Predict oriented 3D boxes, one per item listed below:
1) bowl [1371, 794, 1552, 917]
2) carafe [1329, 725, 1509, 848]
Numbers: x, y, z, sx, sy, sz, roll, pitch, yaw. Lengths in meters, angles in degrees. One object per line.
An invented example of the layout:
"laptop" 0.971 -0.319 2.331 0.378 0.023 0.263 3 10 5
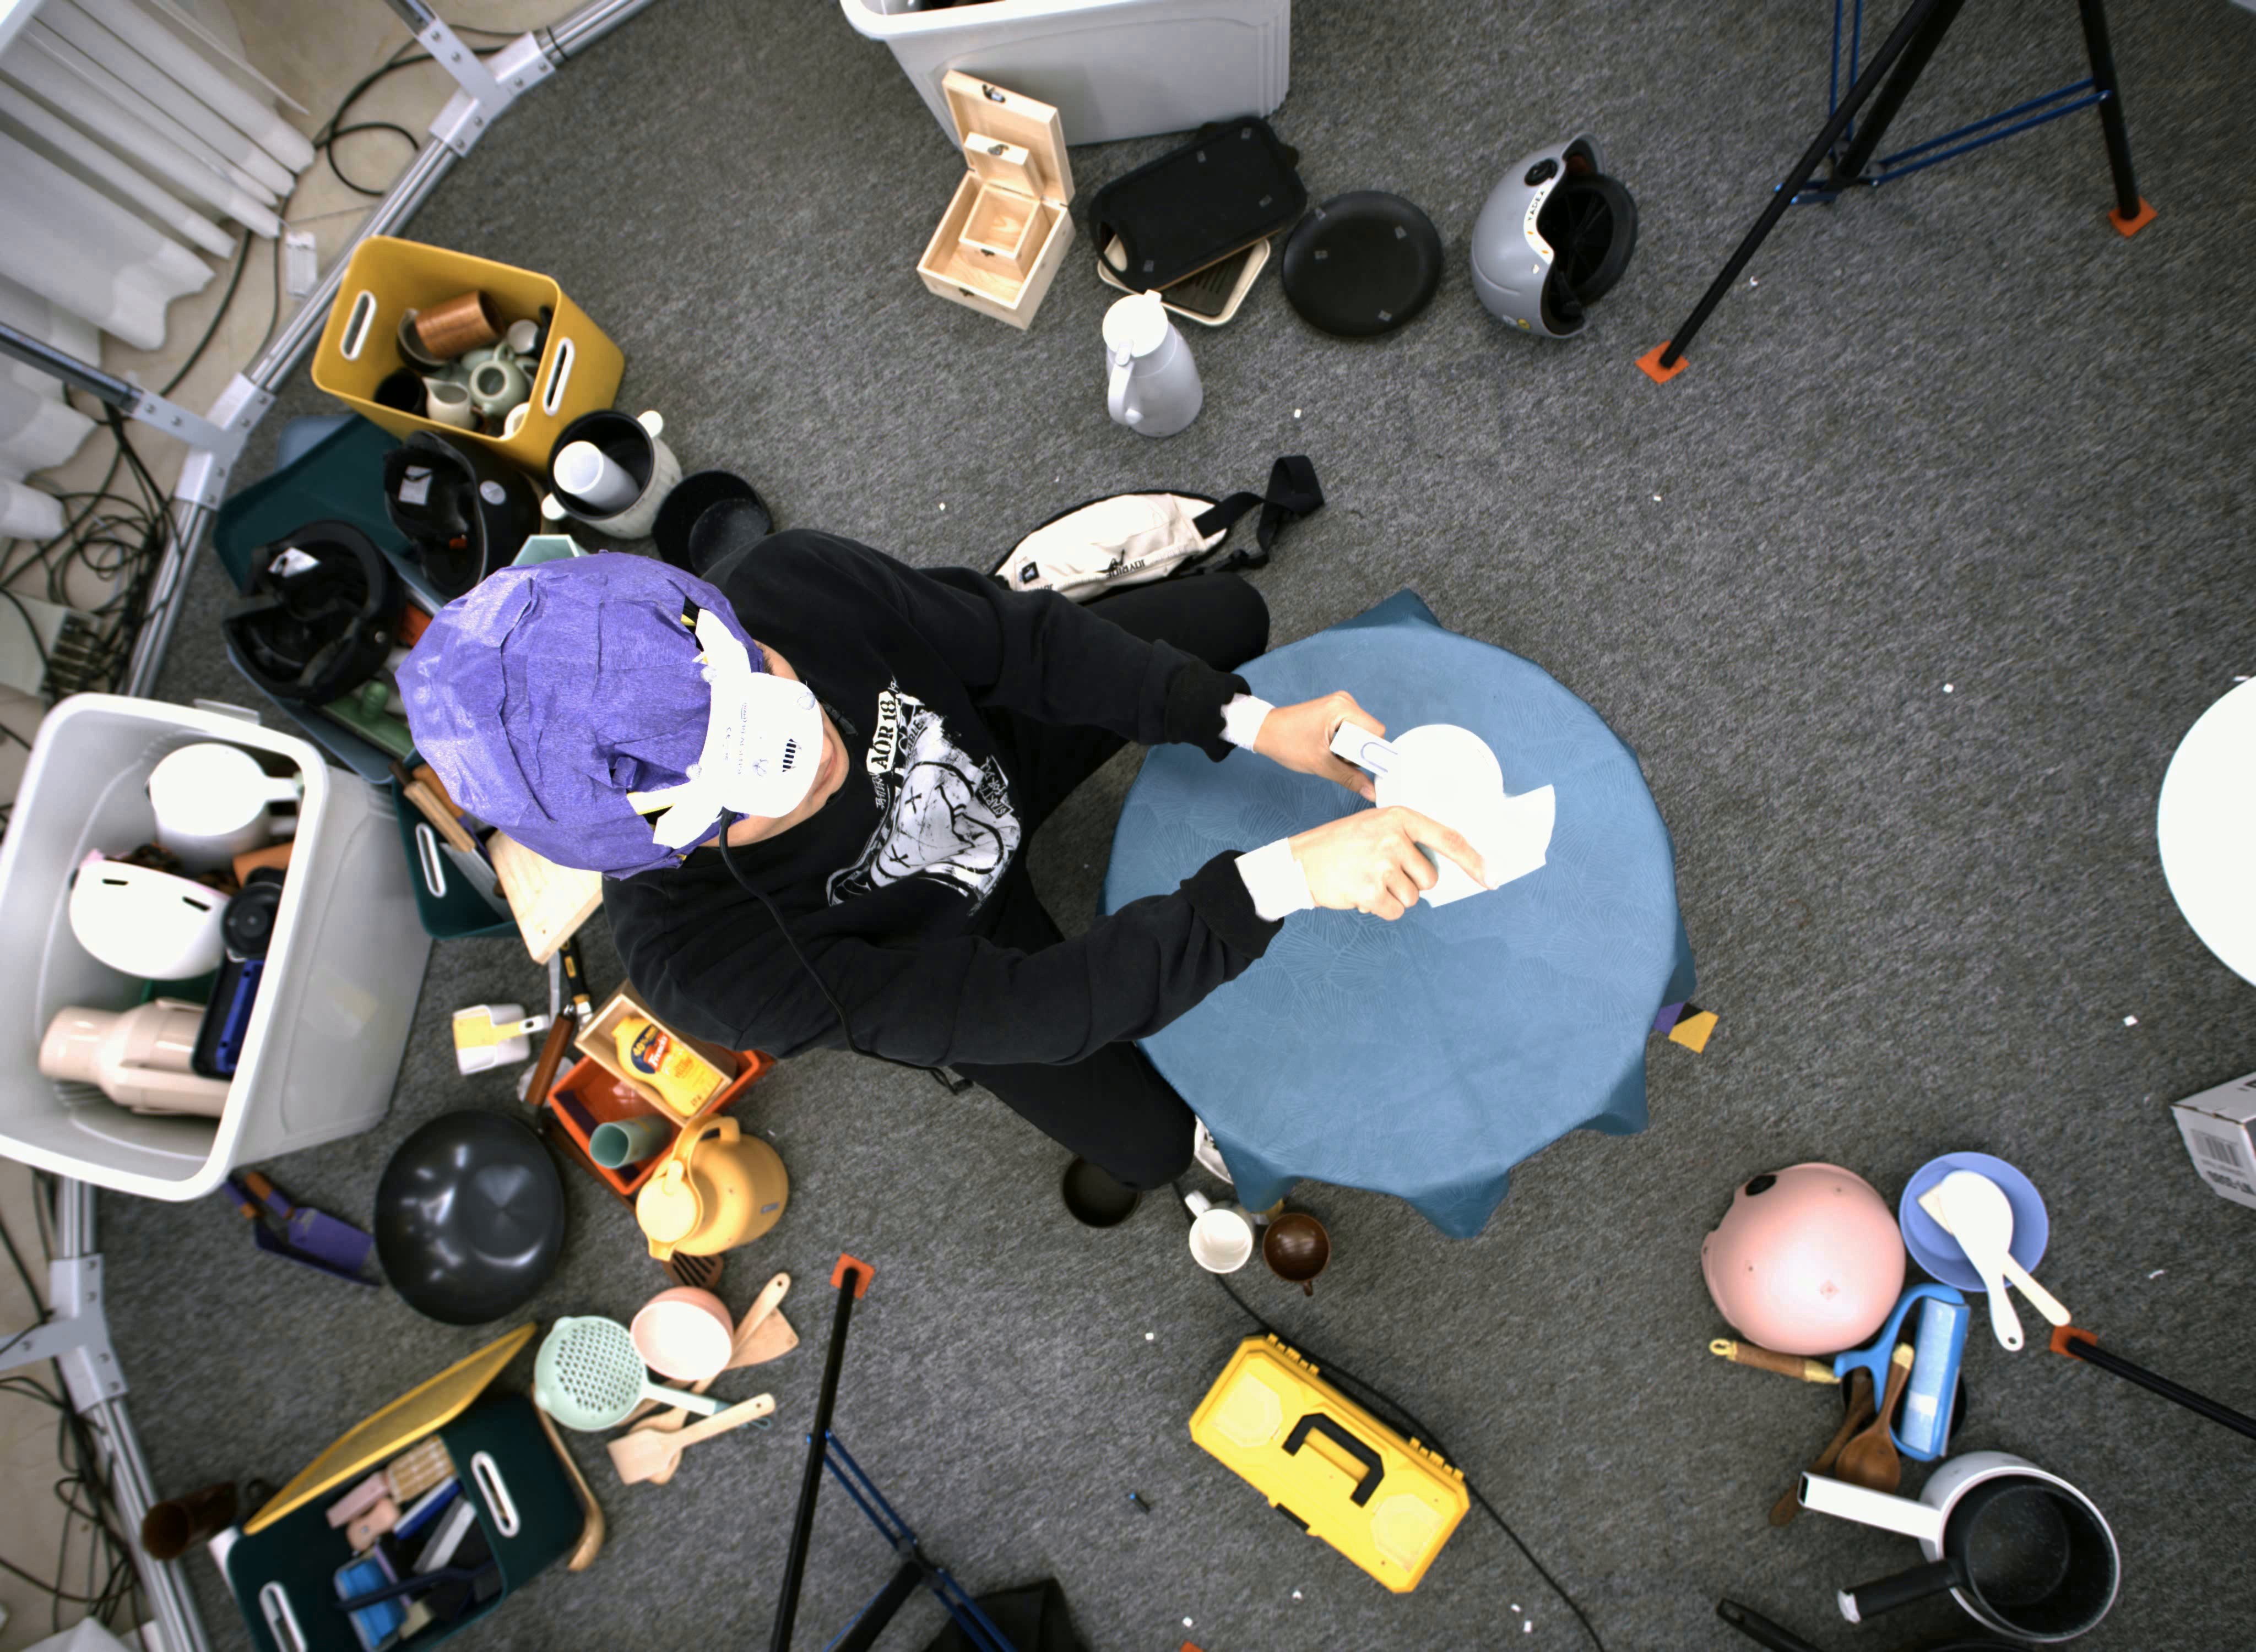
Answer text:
"bowl" 0.274 0.027 1.094 0.152 0.151 0.058 -23 86 8
"carafe" 0.279 -0.044 1.325 0.172 0.267 0.125 26 99 10
